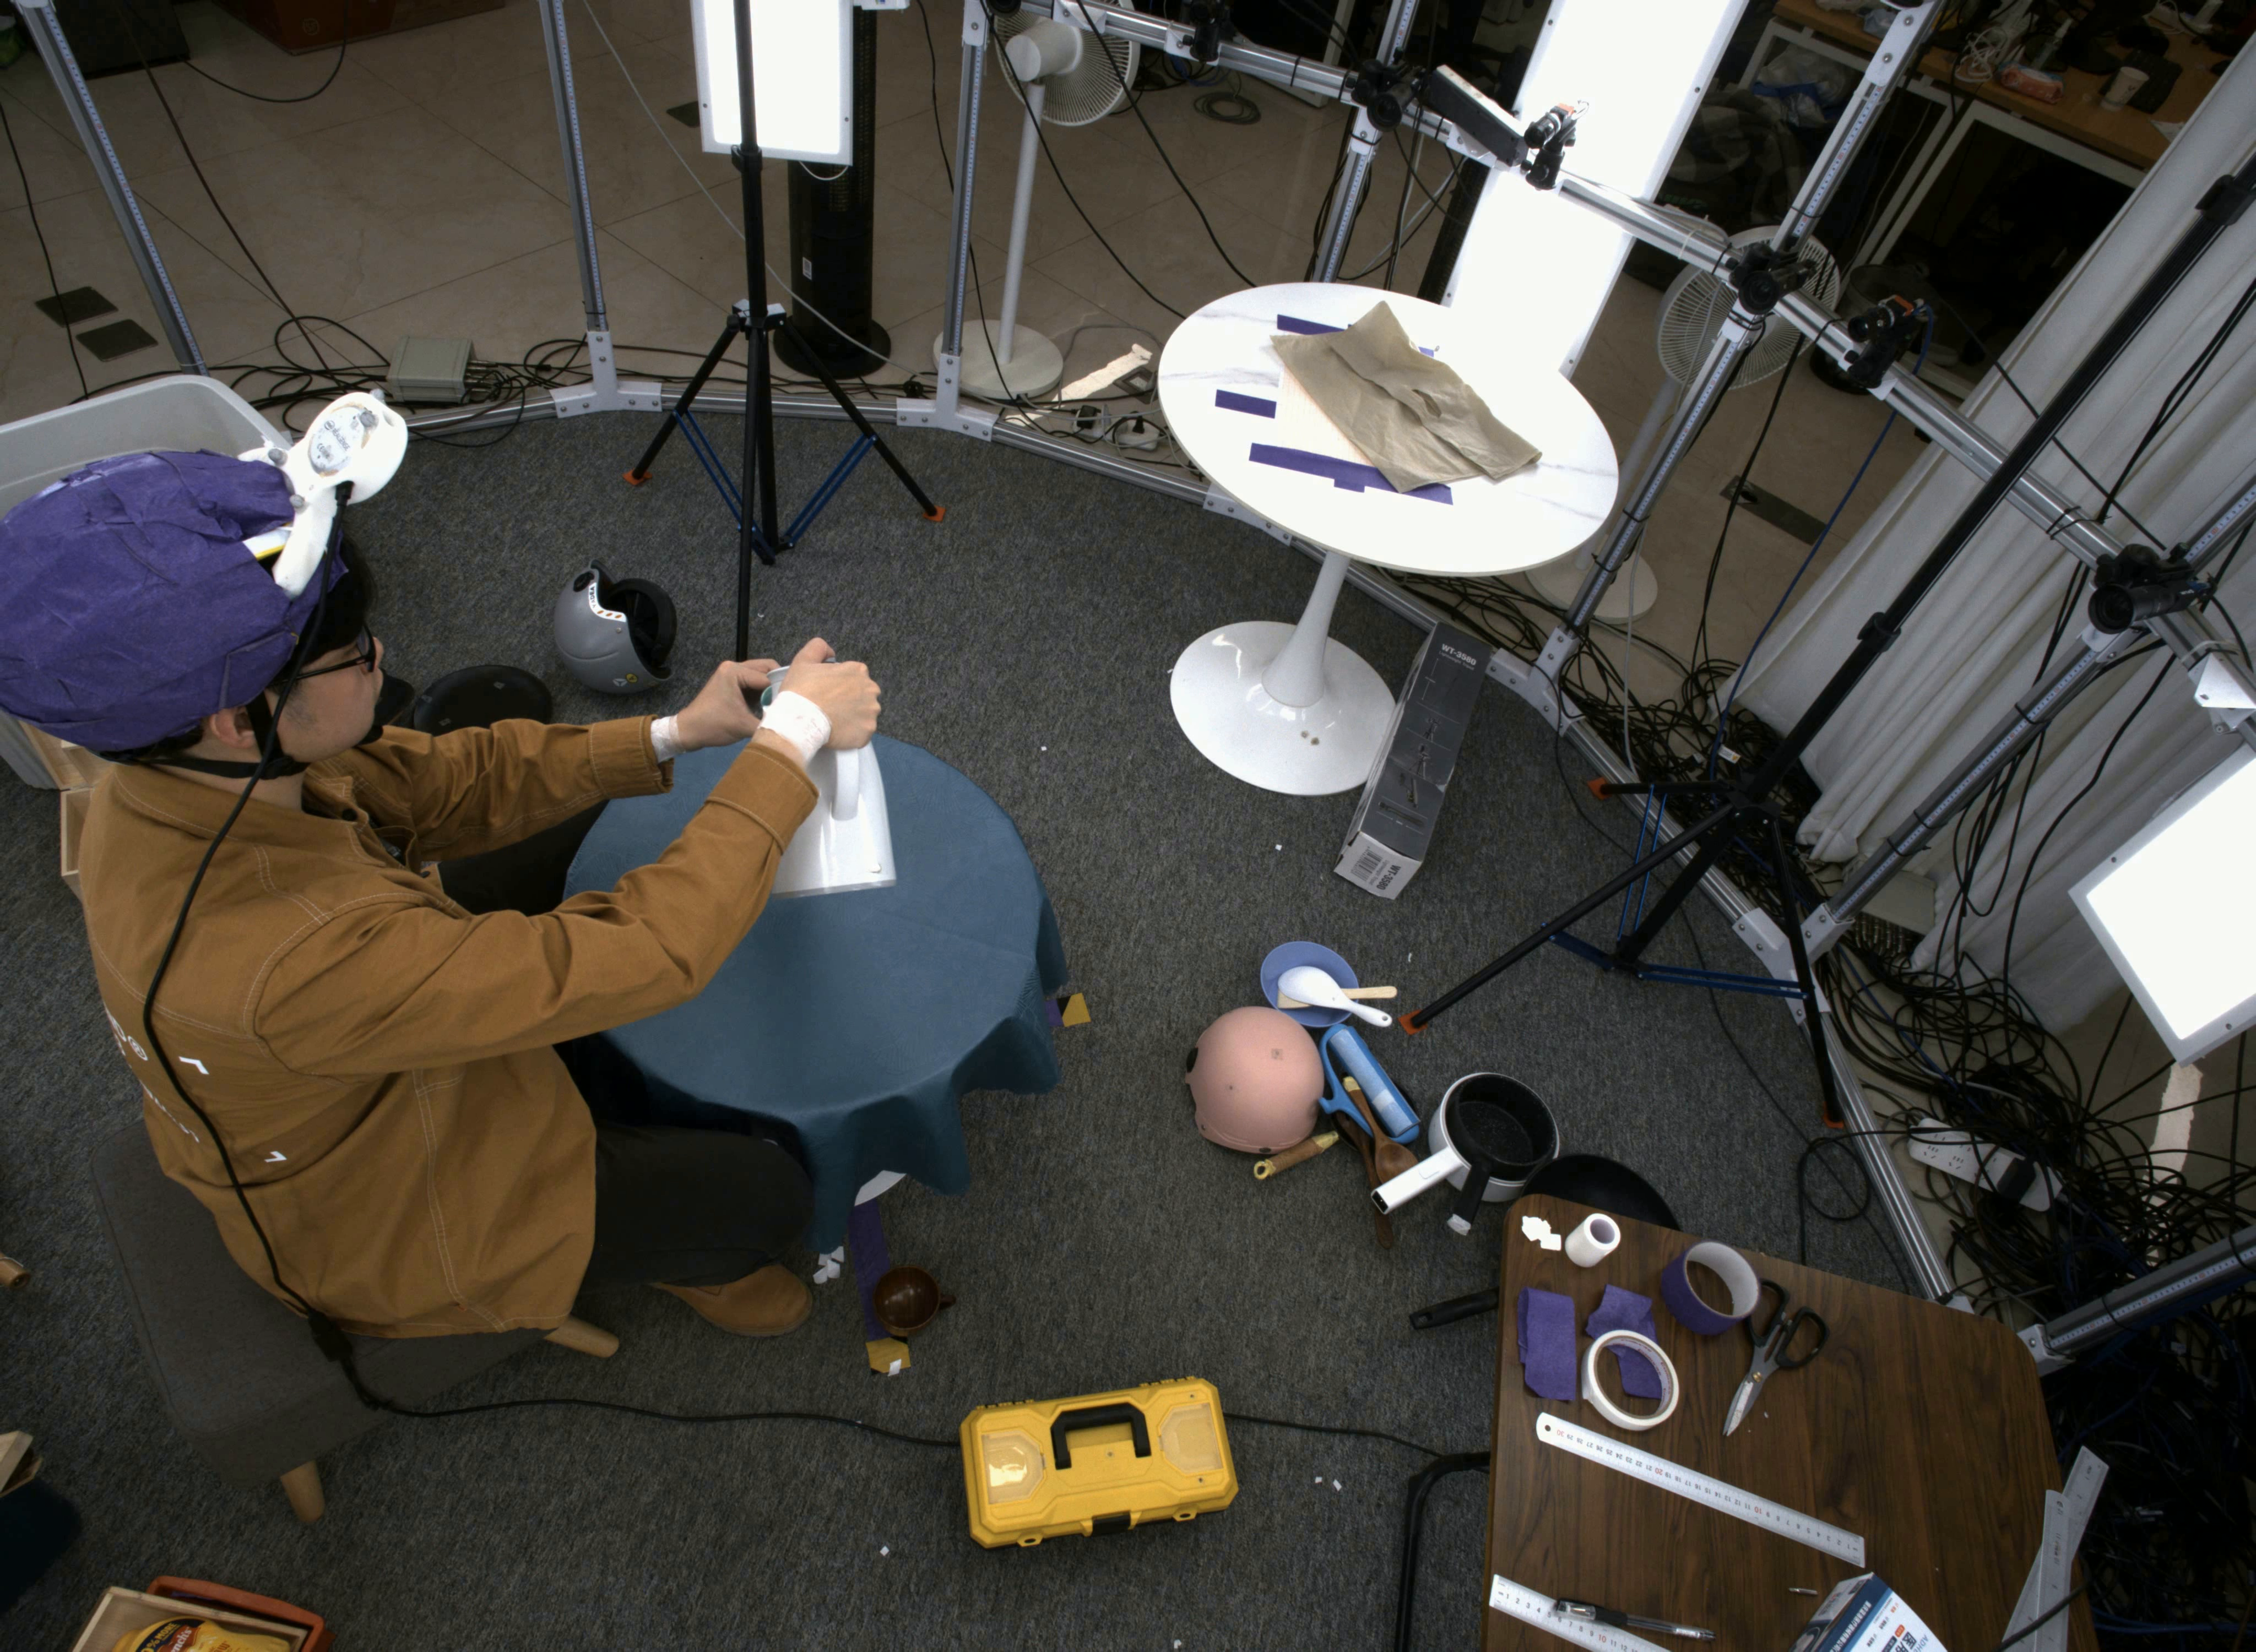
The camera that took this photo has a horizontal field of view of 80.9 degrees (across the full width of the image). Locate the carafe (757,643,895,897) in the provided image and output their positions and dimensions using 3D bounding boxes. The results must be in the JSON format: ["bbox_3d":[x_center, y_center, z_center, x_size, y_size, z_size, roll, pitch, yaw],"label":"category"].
[{"bbox_3d":[-0.319,-0.060,1.357,0.134,0.164,0.252,-7,90,-30],"label":"carafe"}]

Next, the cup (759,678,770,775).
[{"bbox_3d":[-0.401,-0.110,1.514,0.067,0.134,0.065,8,53,-10],"label":"cup"}]
